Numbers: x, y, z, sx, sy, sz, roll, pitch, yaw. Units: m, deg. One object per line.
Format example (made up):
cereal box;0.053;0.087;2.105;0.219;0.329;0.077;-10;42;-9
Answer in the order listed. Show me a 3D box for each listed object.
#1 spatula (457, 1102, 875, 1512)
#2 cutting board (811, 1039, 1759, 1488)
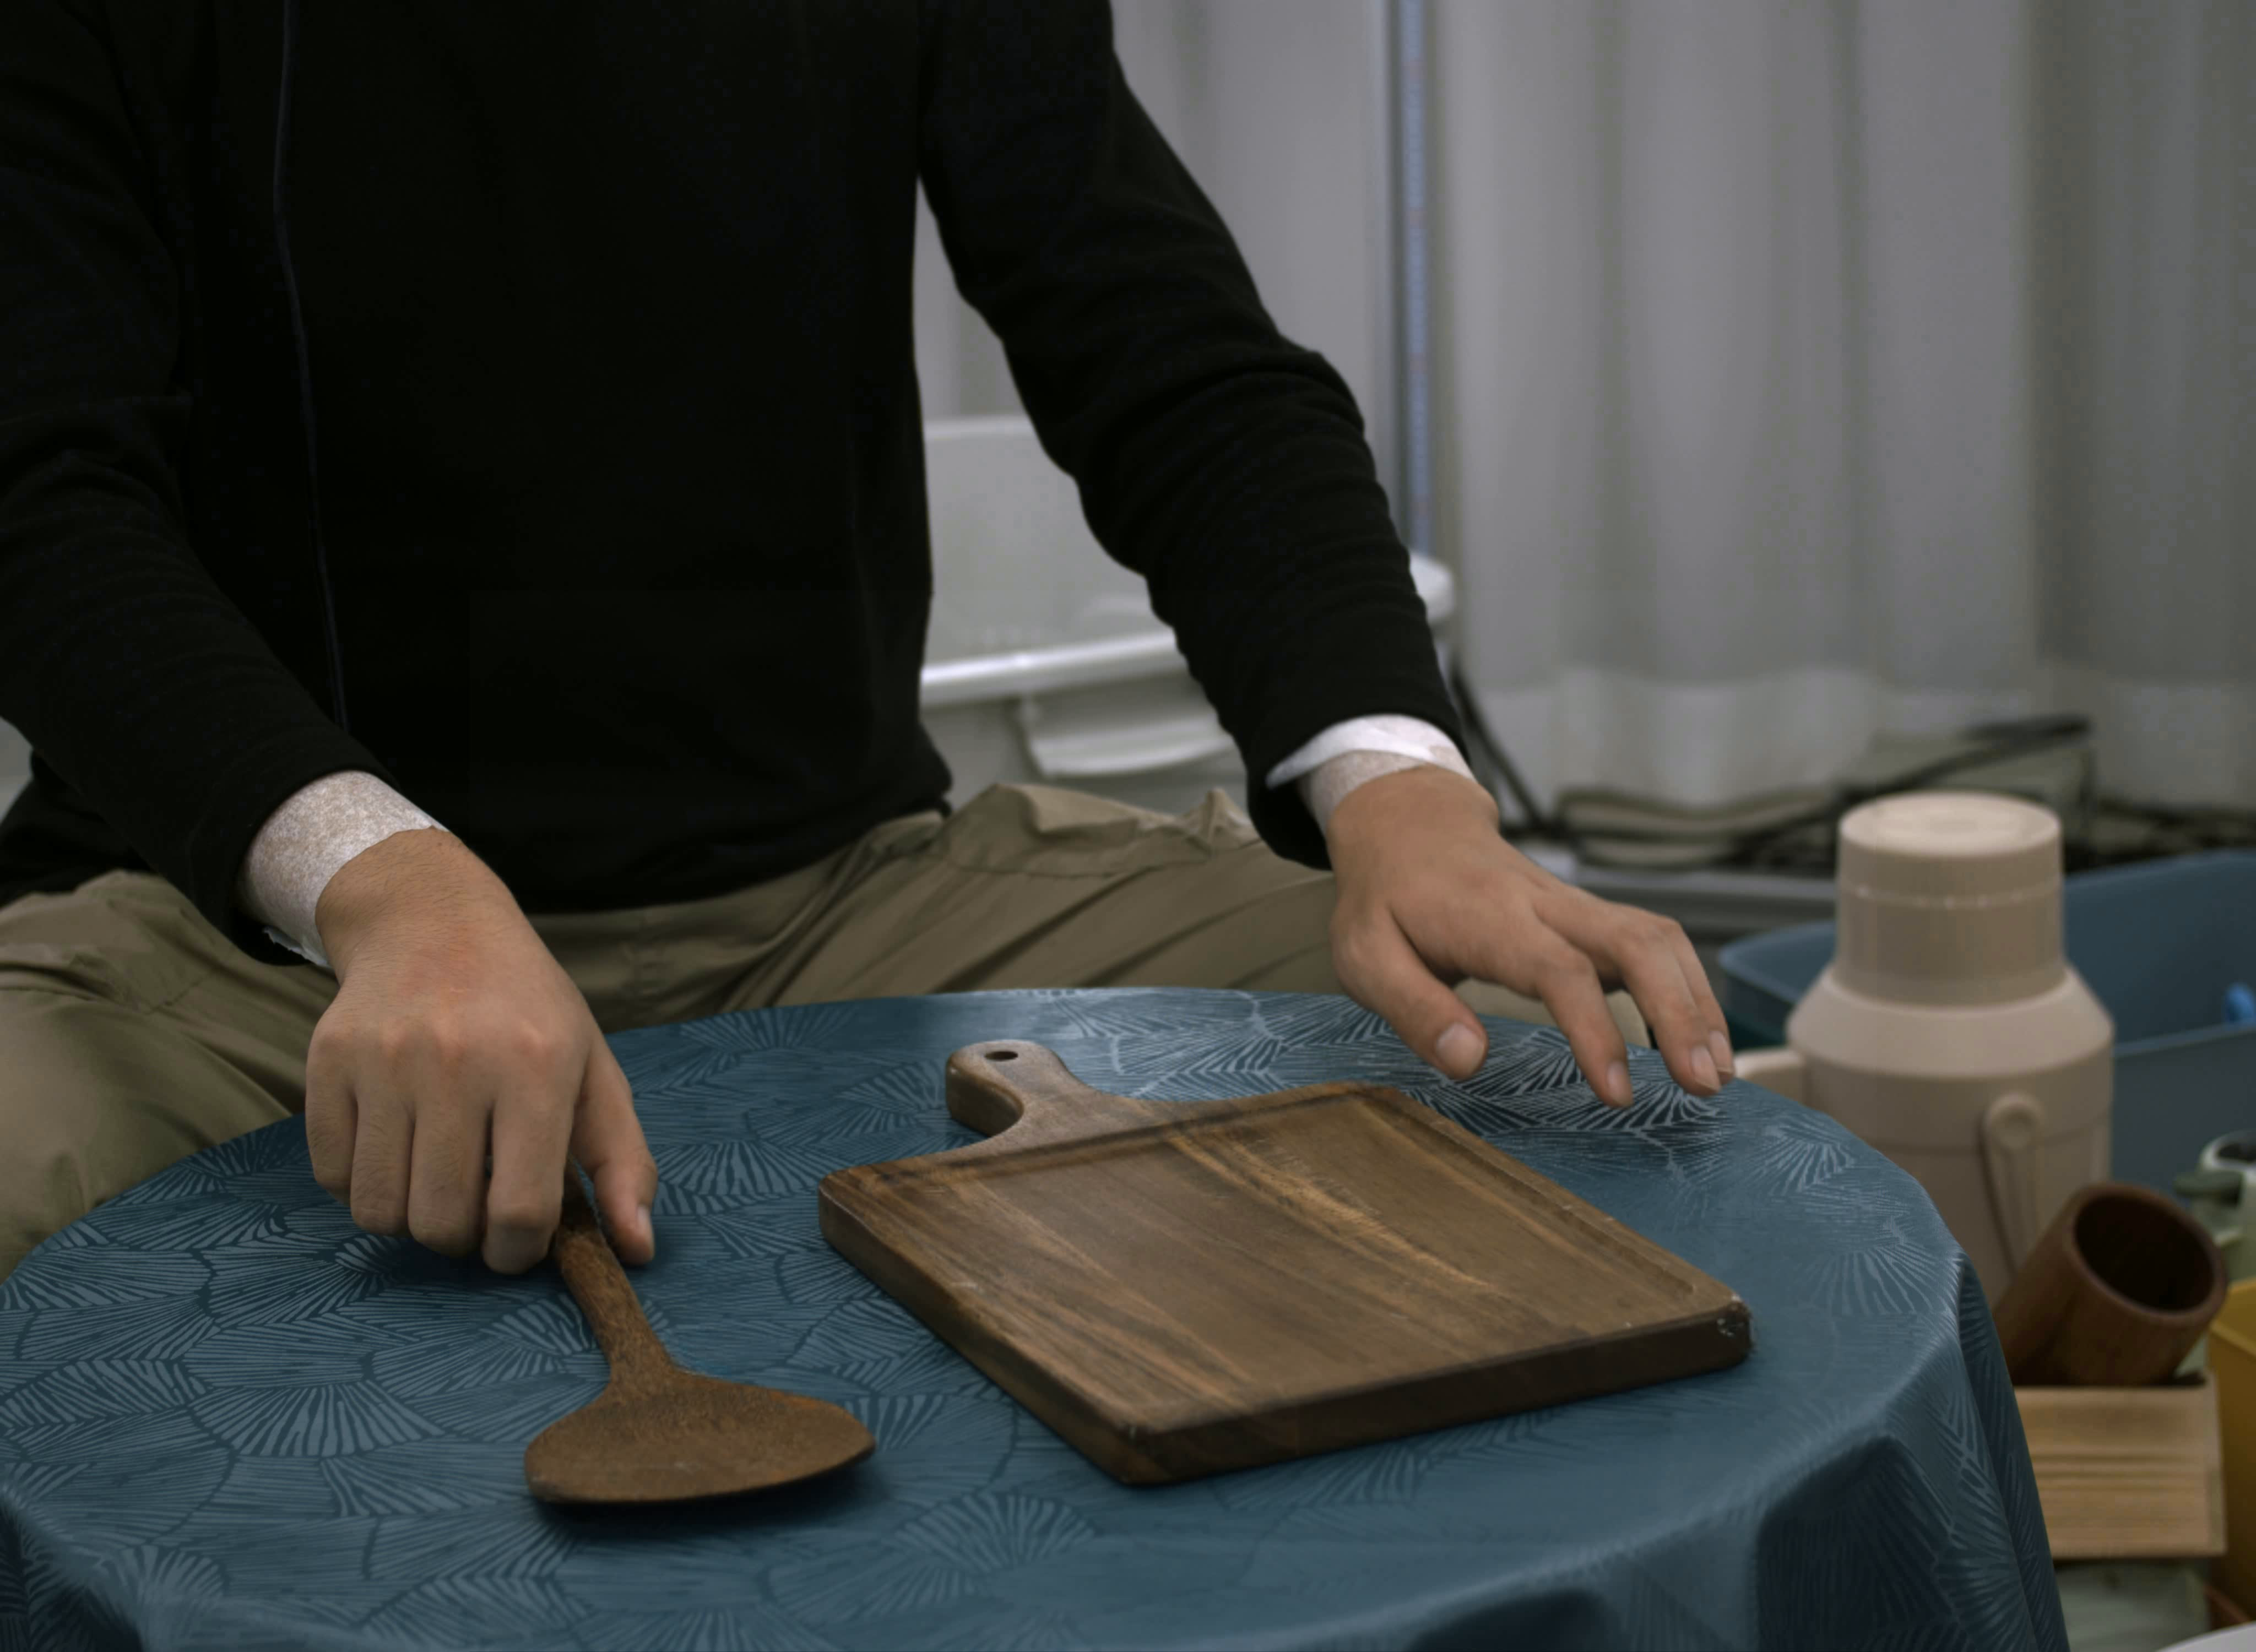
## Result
spatula;-0.159;0.137;1.633;0.095;0.016;0.389;-7;15;-14
cutting board;0.021;0.118;1.656;0.200;0.023;0.355;-9;16;-22
